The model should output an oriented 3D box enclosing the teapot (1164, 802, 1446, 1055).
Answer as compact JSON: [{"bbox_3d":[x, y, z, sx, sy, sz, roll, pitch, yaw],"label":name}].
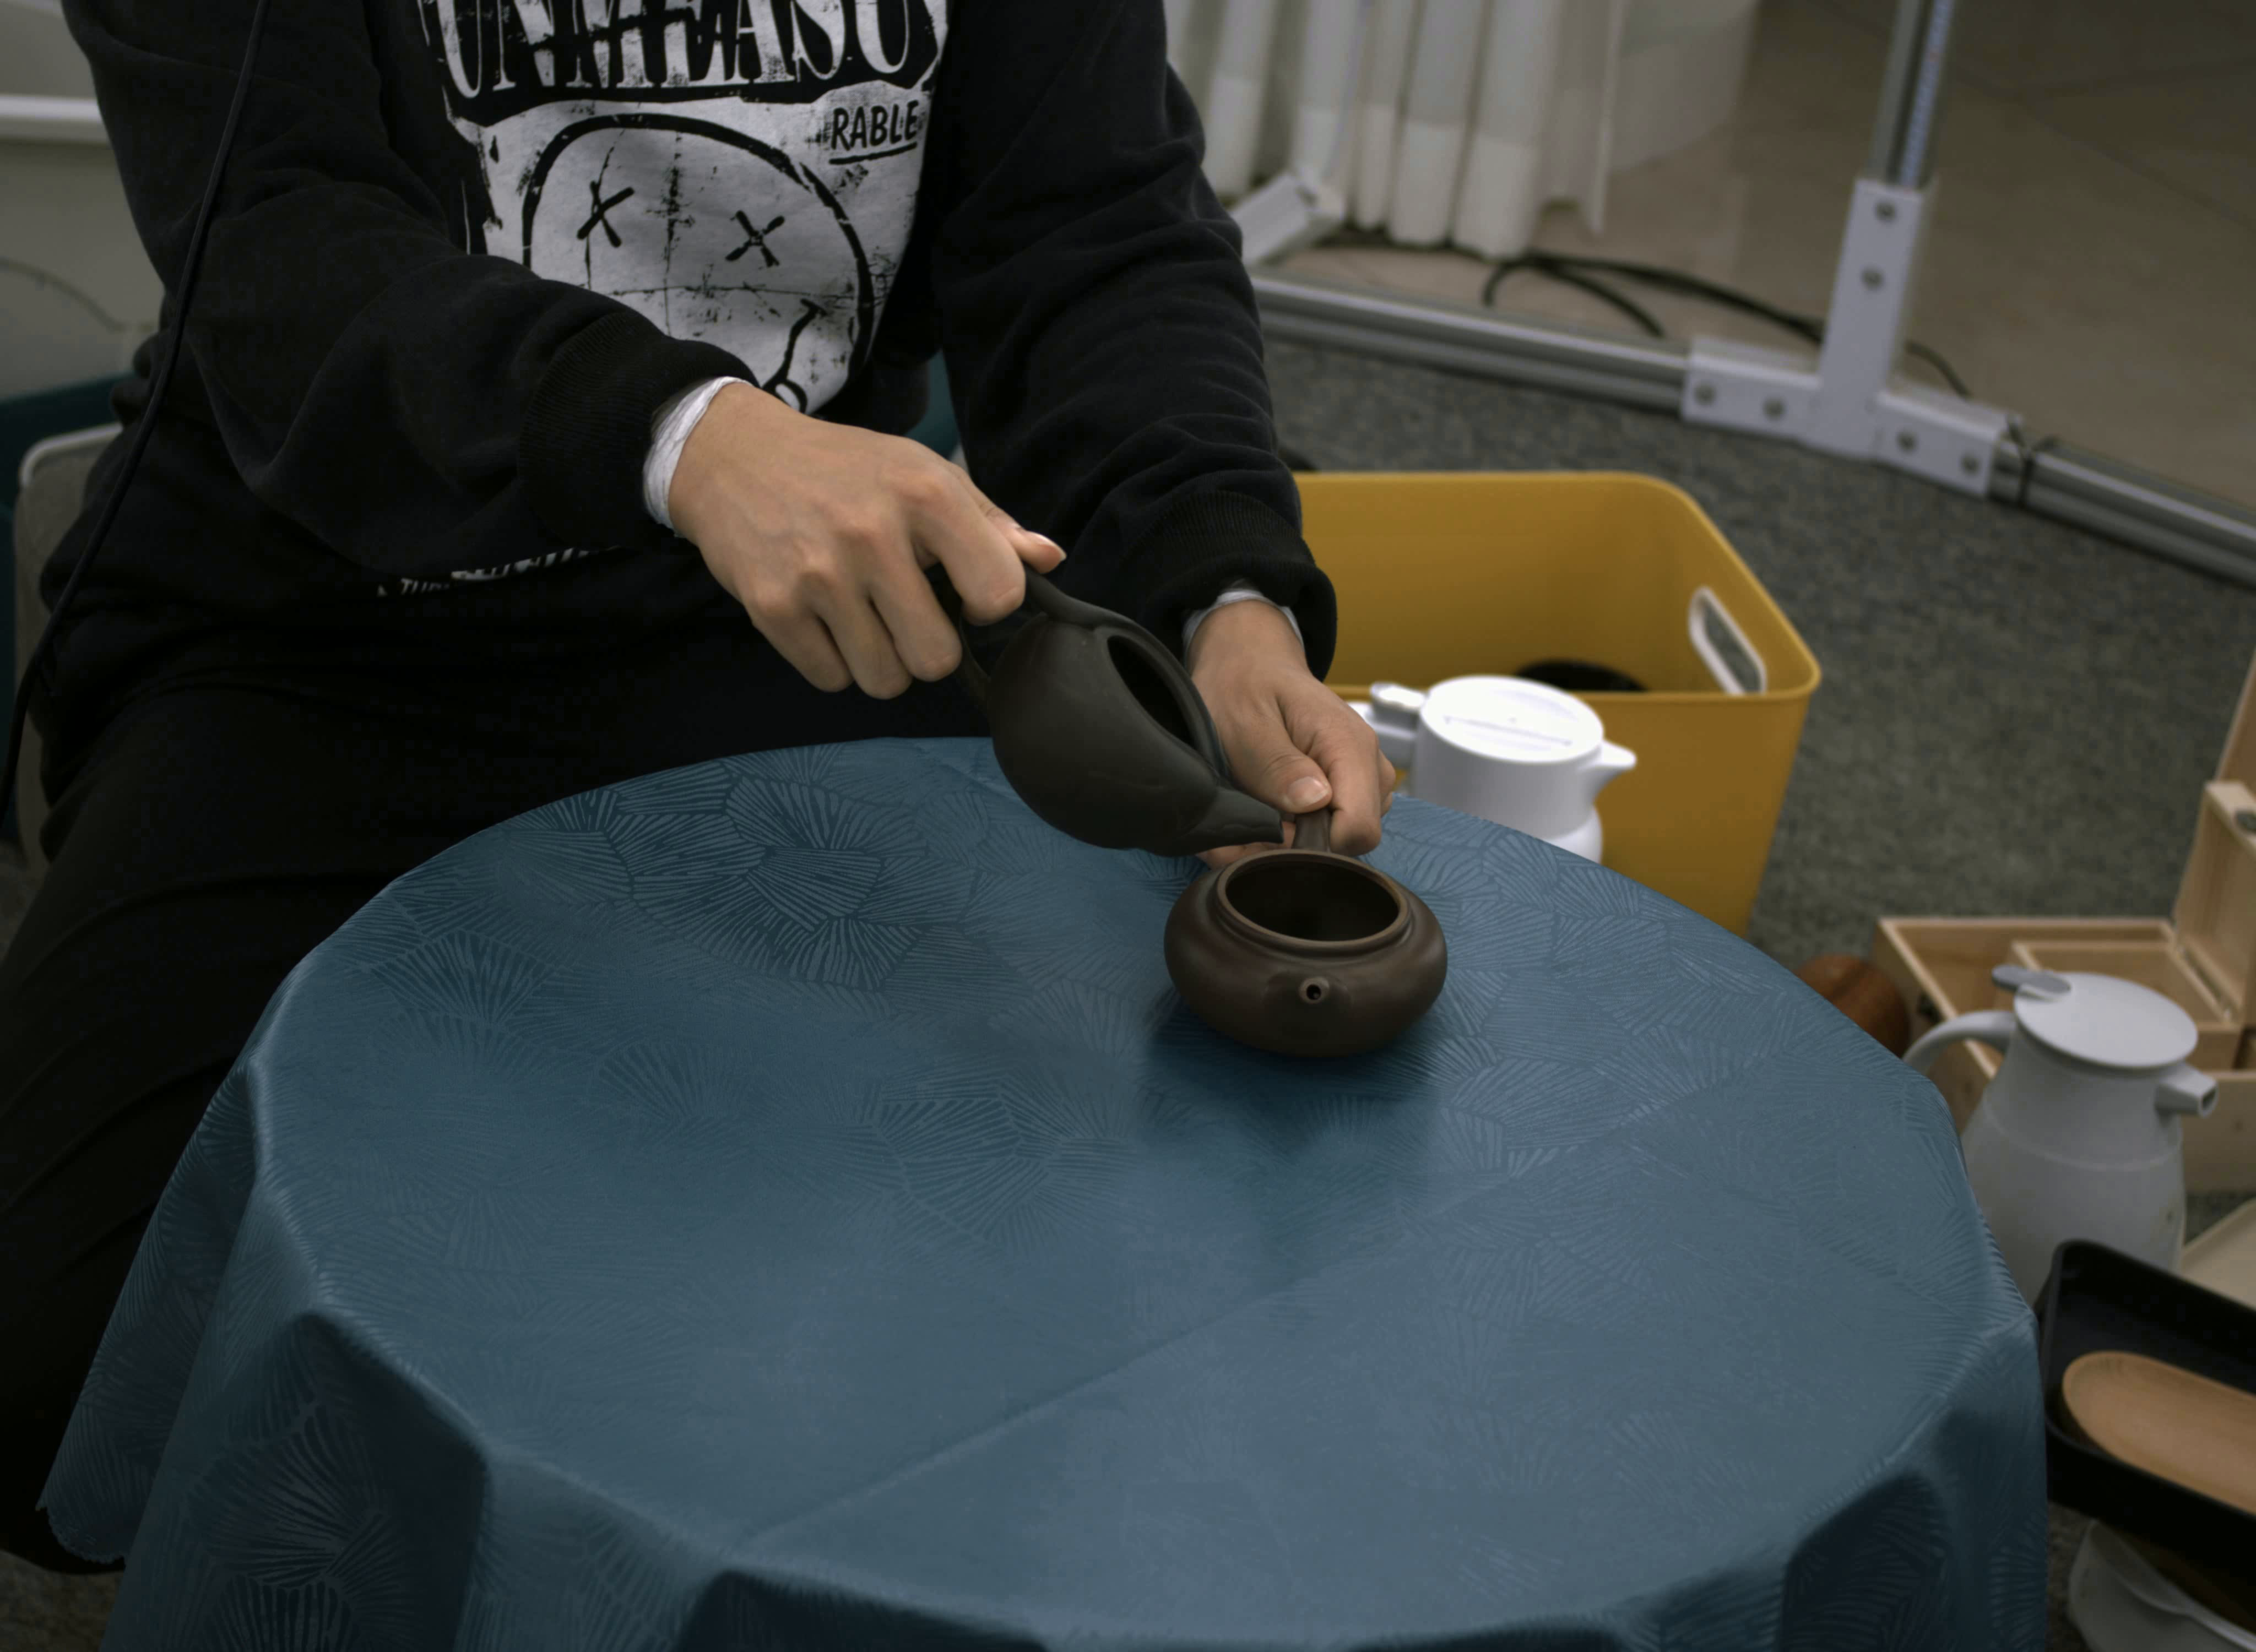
[{"bbox_3d":[0.064,0.041,1.919,0.102,0.053,0.154,6,29,-7],"label":"teapot"}]

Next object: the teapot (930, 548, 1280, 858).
[{"bbox_3d":[-0.011,-0.036,1.861,0.153,0.064,0.093,45,20,-15],"label":"teapot"}]
